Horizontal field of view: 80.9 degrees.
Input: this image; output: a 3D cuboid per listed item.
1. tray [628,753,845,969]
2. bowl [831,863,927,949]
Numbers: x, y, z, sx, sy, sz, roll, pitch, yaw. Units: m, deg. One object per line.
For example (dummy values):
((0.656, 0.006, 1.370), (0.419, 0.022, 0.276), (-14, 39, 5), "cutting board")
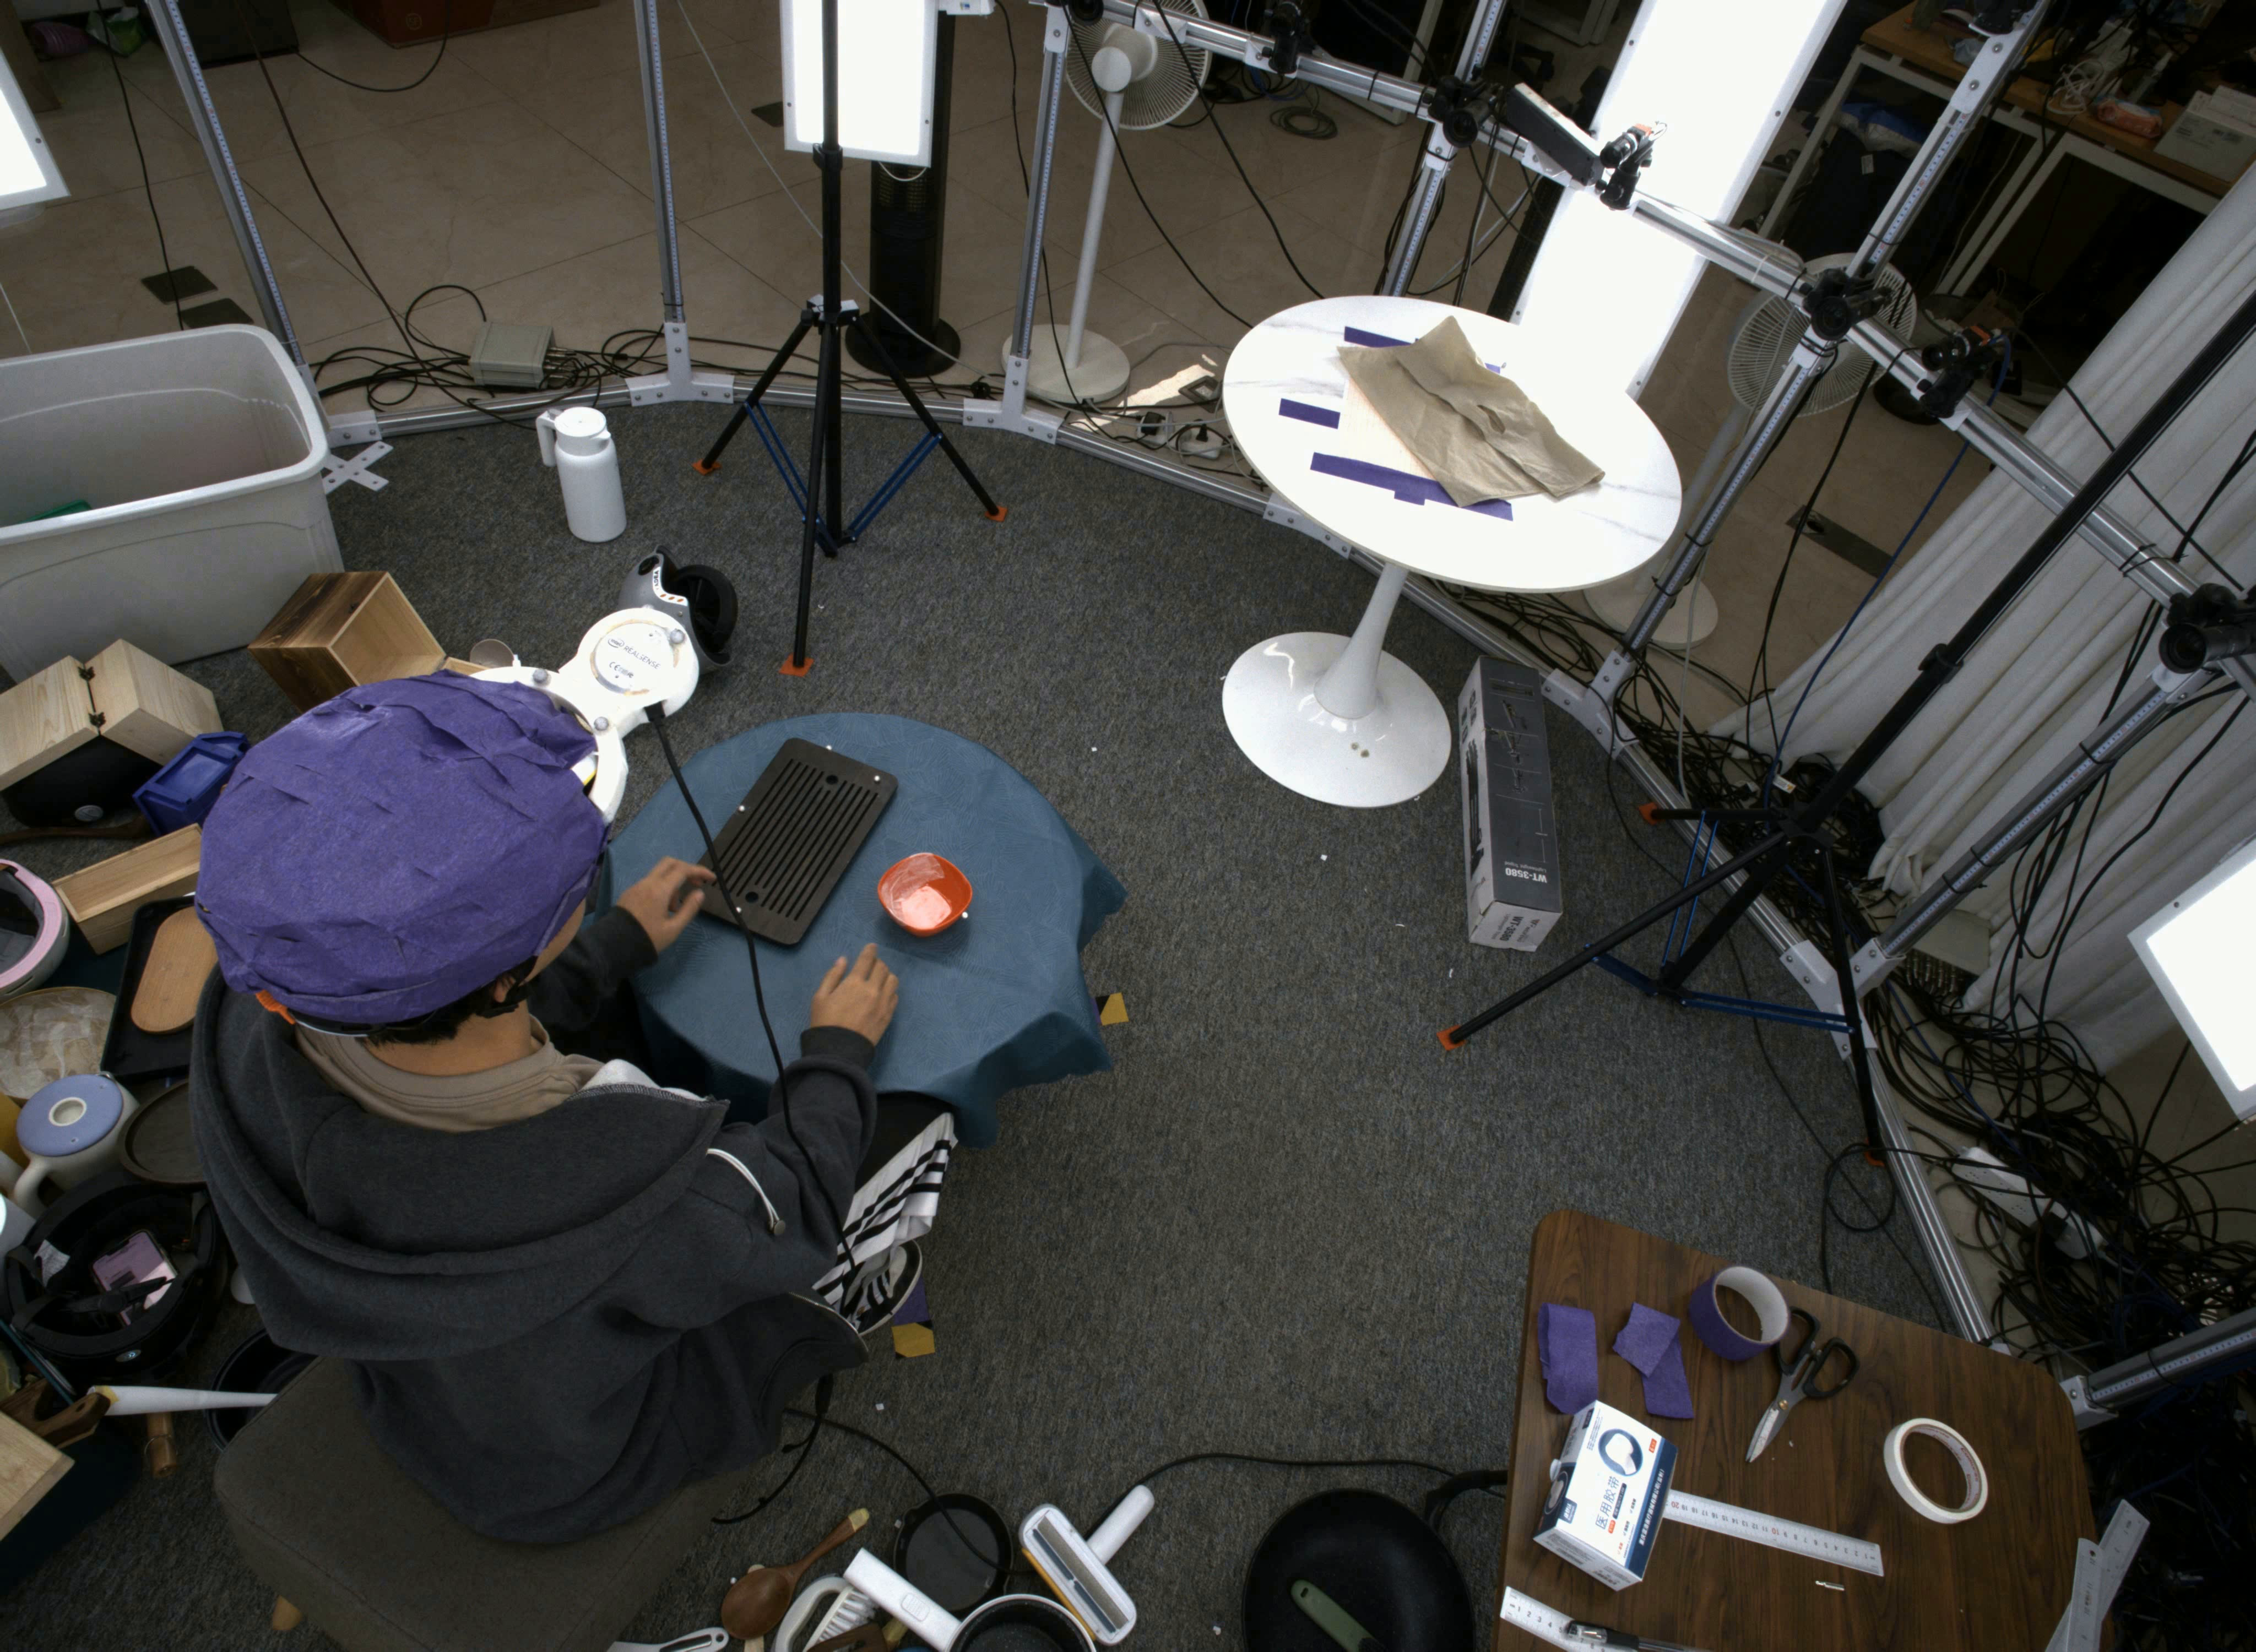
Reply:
((-0.500, 0.038, 1.669), (0.168, 0.019, 0.303), (20, 52, 0), "tray")
((-0.315, 0.108, 1.641), (0.119, 0.052, 0.117), (9, 51, -9), "bowl")
